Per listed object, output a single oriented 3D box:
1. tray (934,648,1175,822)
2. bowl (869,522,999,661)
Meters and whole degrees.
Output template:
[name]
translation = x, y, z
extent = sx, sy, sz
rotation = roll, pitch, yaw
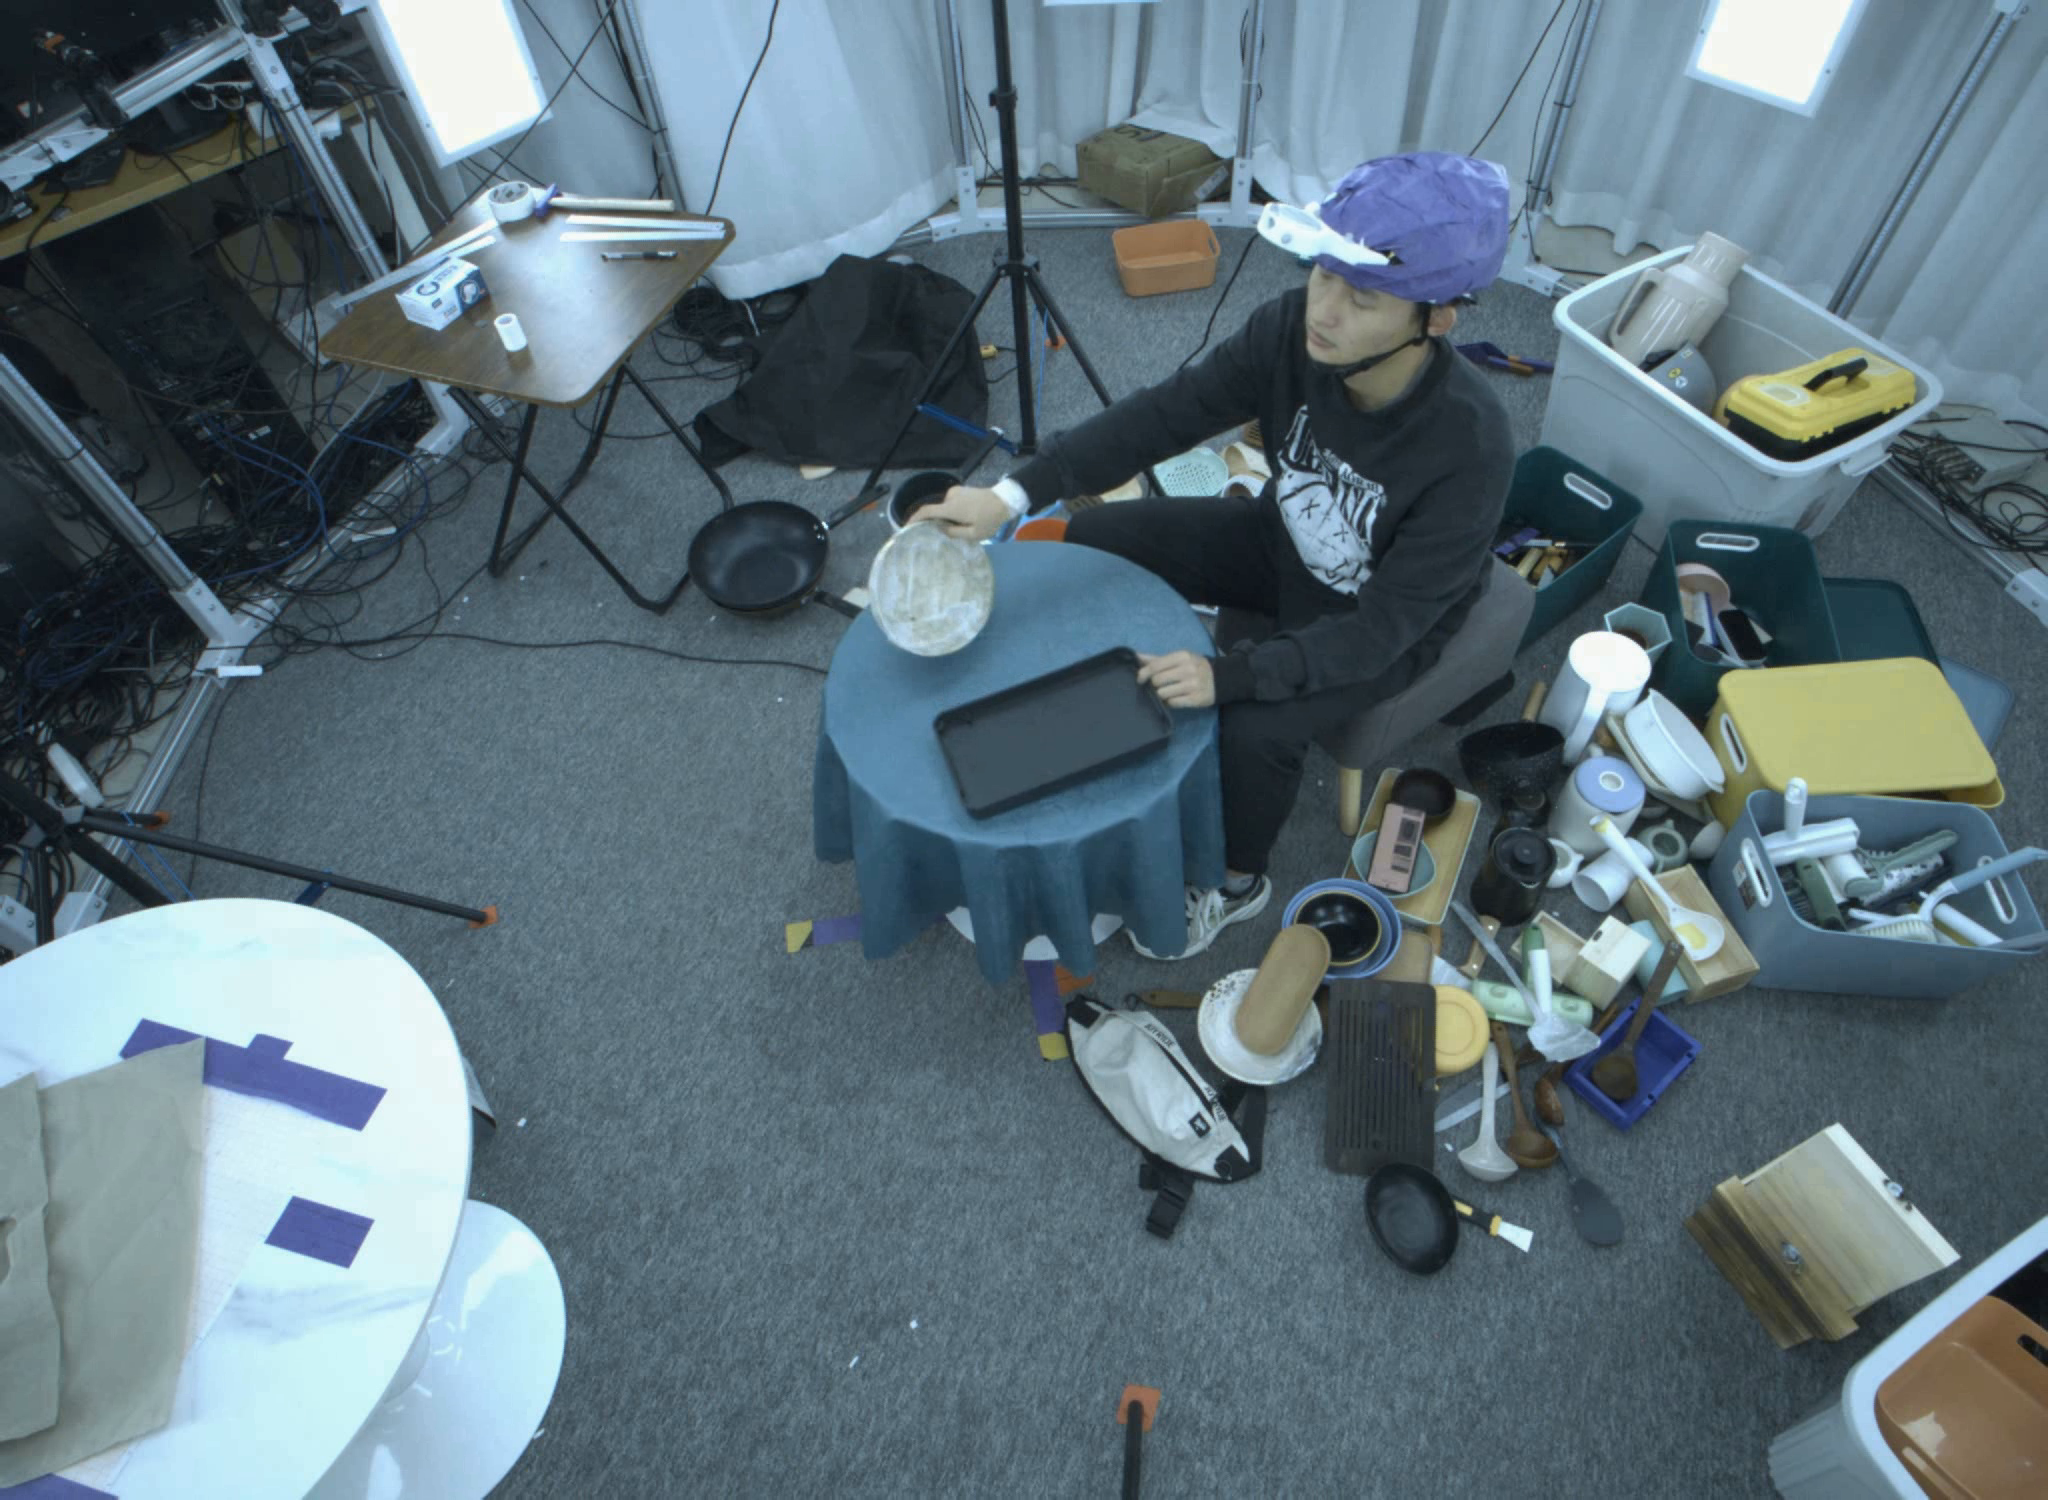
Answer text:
[tray]
translation = 0.043, -0.024, 1.773
extent = 0.319, 0.037, 0.181
rotation = -20, 57, -5
[bowl]
translation = -0.147, -0.239, 1.841
extent = 0.216, 0.218, 0.092
rotation = -40, 28, -22
